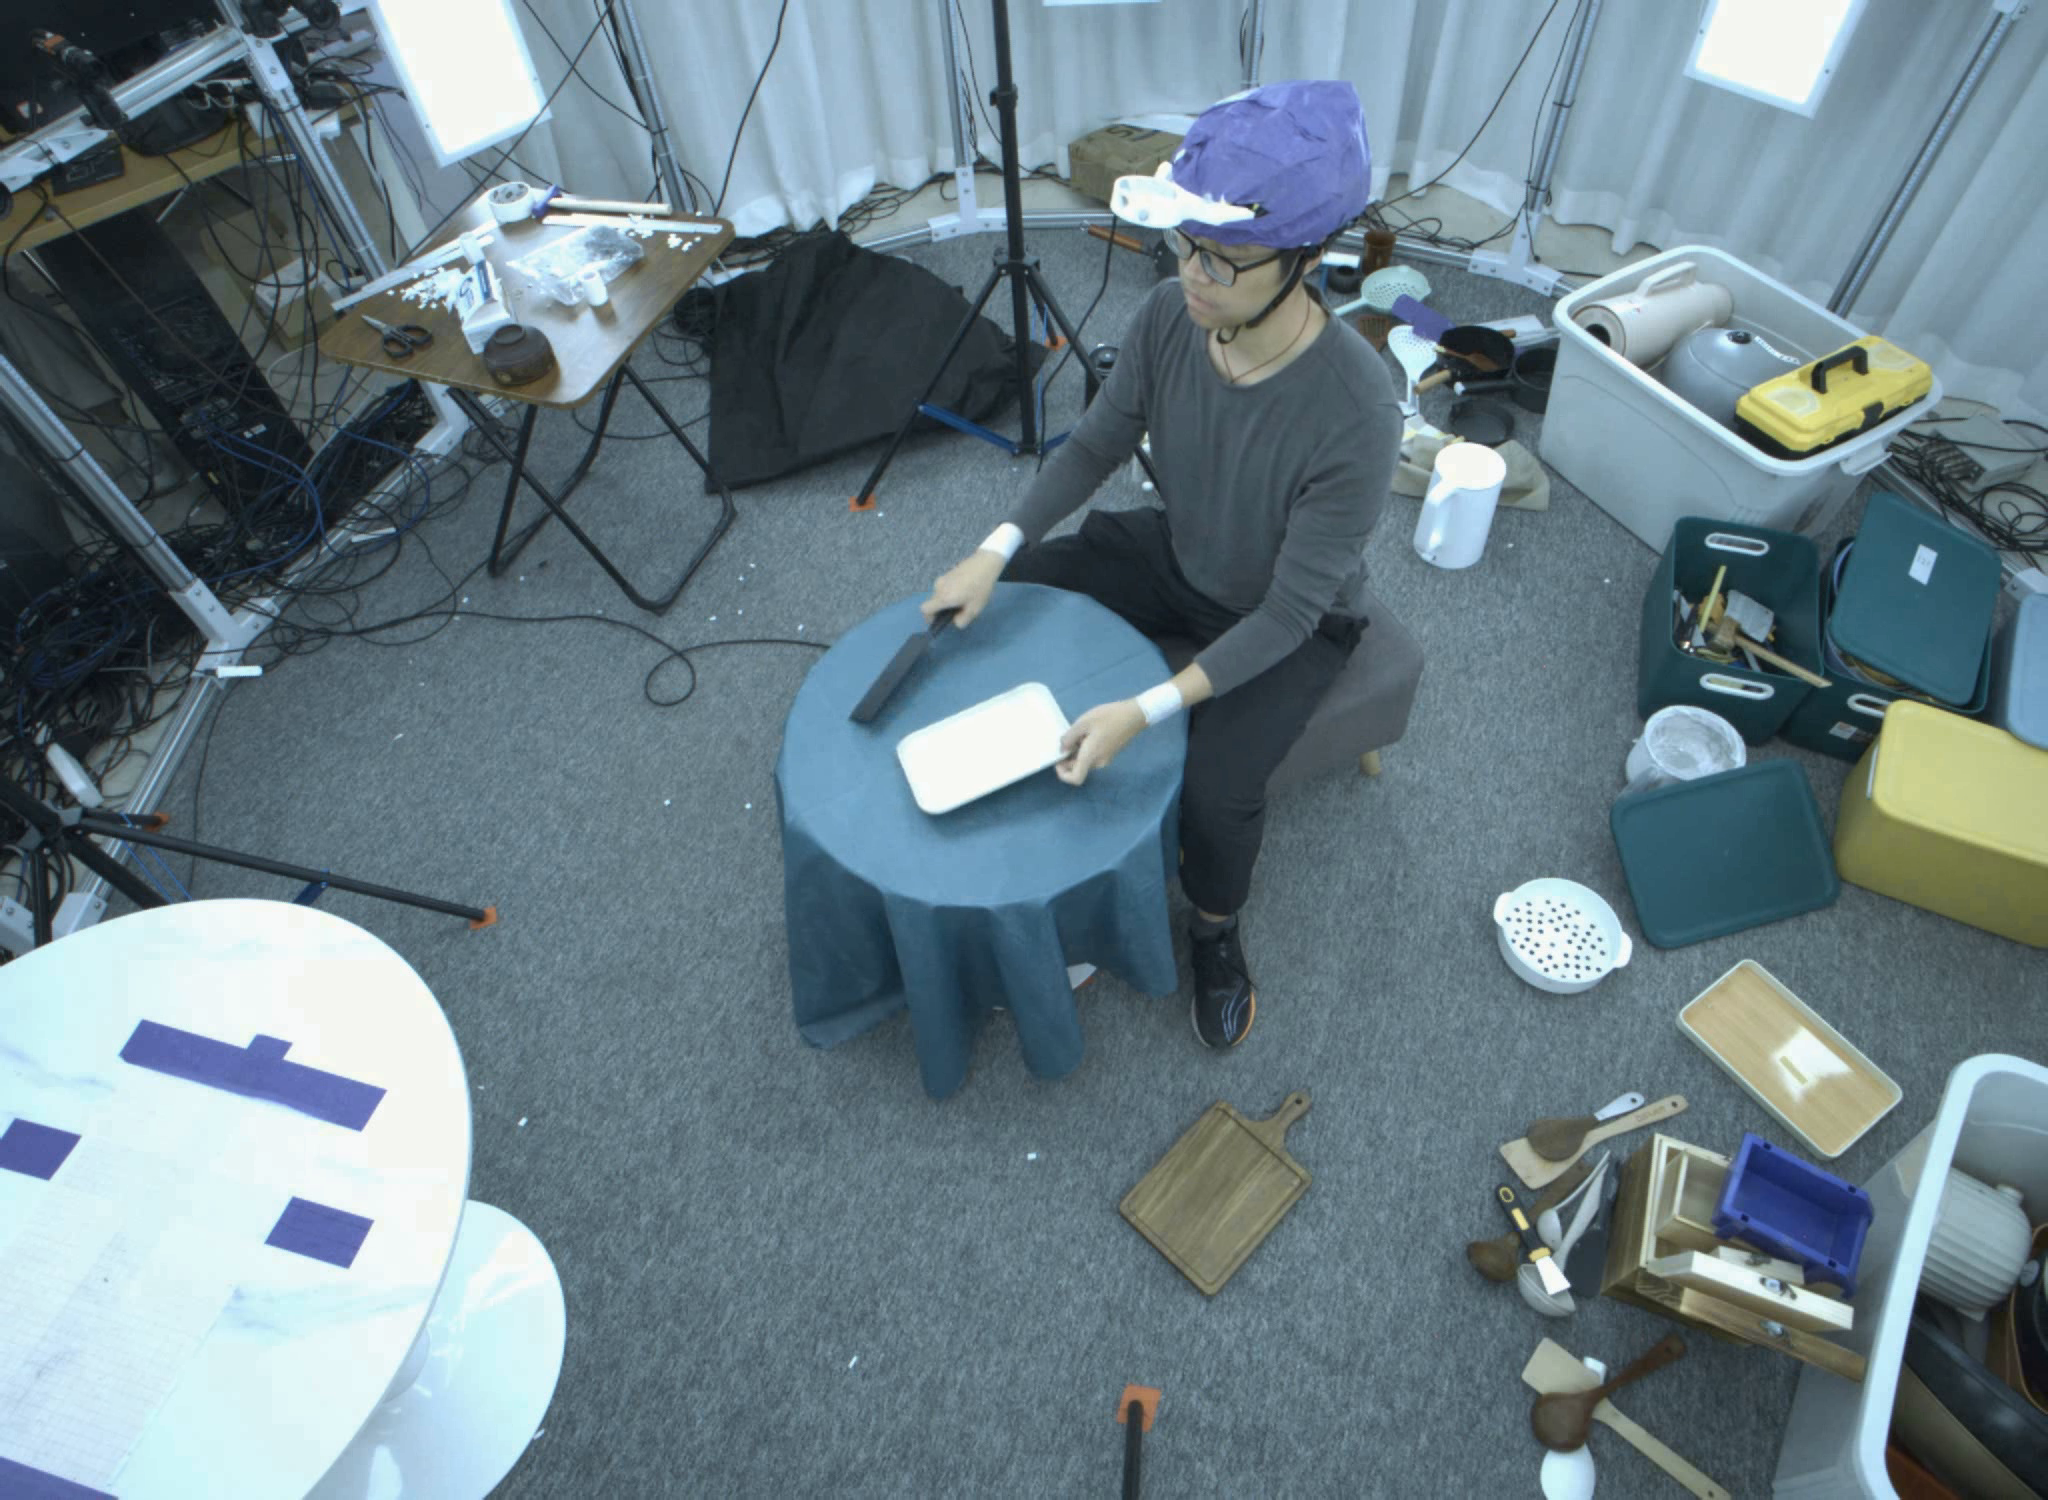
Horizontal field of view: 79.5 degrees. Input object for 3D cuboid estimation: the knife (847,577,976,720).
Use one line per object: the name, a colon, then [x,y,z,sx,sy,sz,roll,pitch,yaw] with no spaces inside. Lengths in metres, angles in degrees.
knife: [-0.168,-0.157,1.876,0.079,0.021,0.303,11,56,48]

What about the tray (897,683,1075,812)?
tray: [-0.055,-0.003,1.758,0.240,0.018,0.168,-23,45,-6]
